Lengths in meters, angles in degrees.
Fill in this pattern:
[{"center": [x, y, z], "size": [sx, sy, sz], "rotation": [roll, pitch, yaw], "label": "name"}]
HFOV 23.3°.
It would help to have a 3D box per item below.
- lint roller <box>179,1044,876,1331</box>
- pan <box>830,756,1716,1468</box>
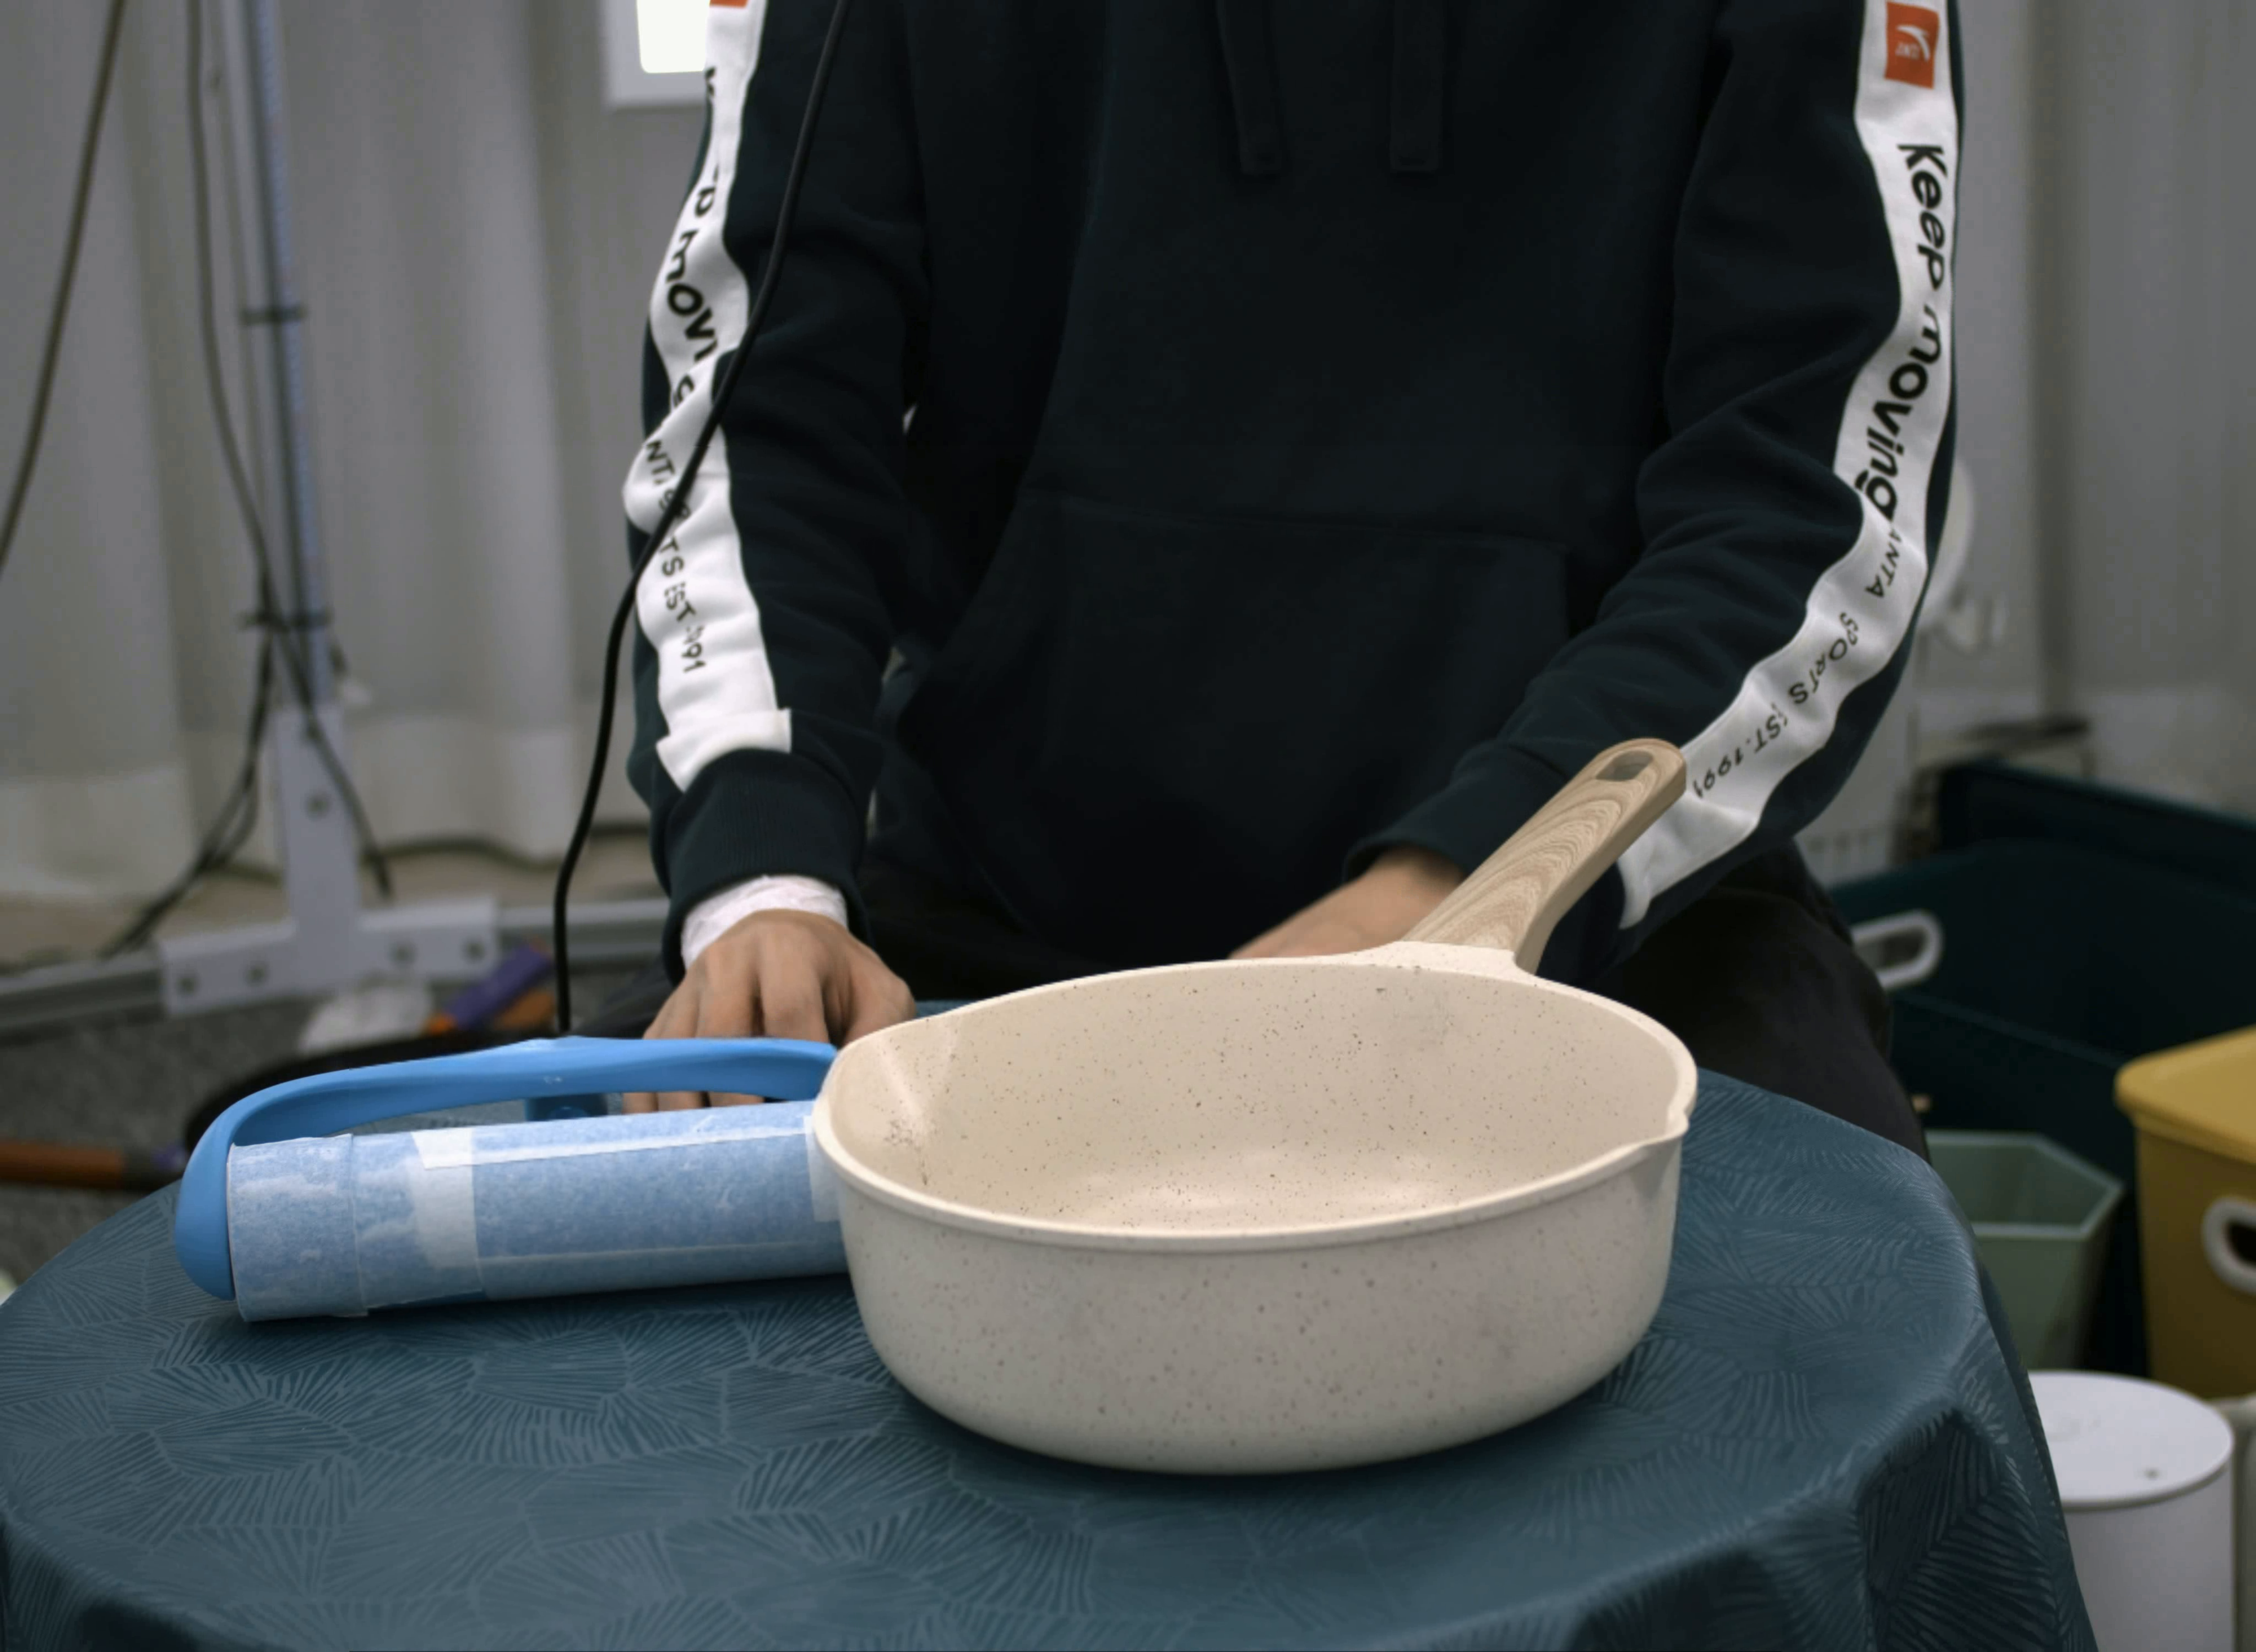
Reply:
[{"center": [-0.178, 0.099, 1.699], "size": [0.228, 0.067, 0.182], "rotation": [-7, 16, -7], "label": "lint roller"}, {"center": [0.081, 0.081, 1.632], "size": [0.264, 0.101, 0.436], "rotation": [3, 16, 26], "label": "pan"}]
